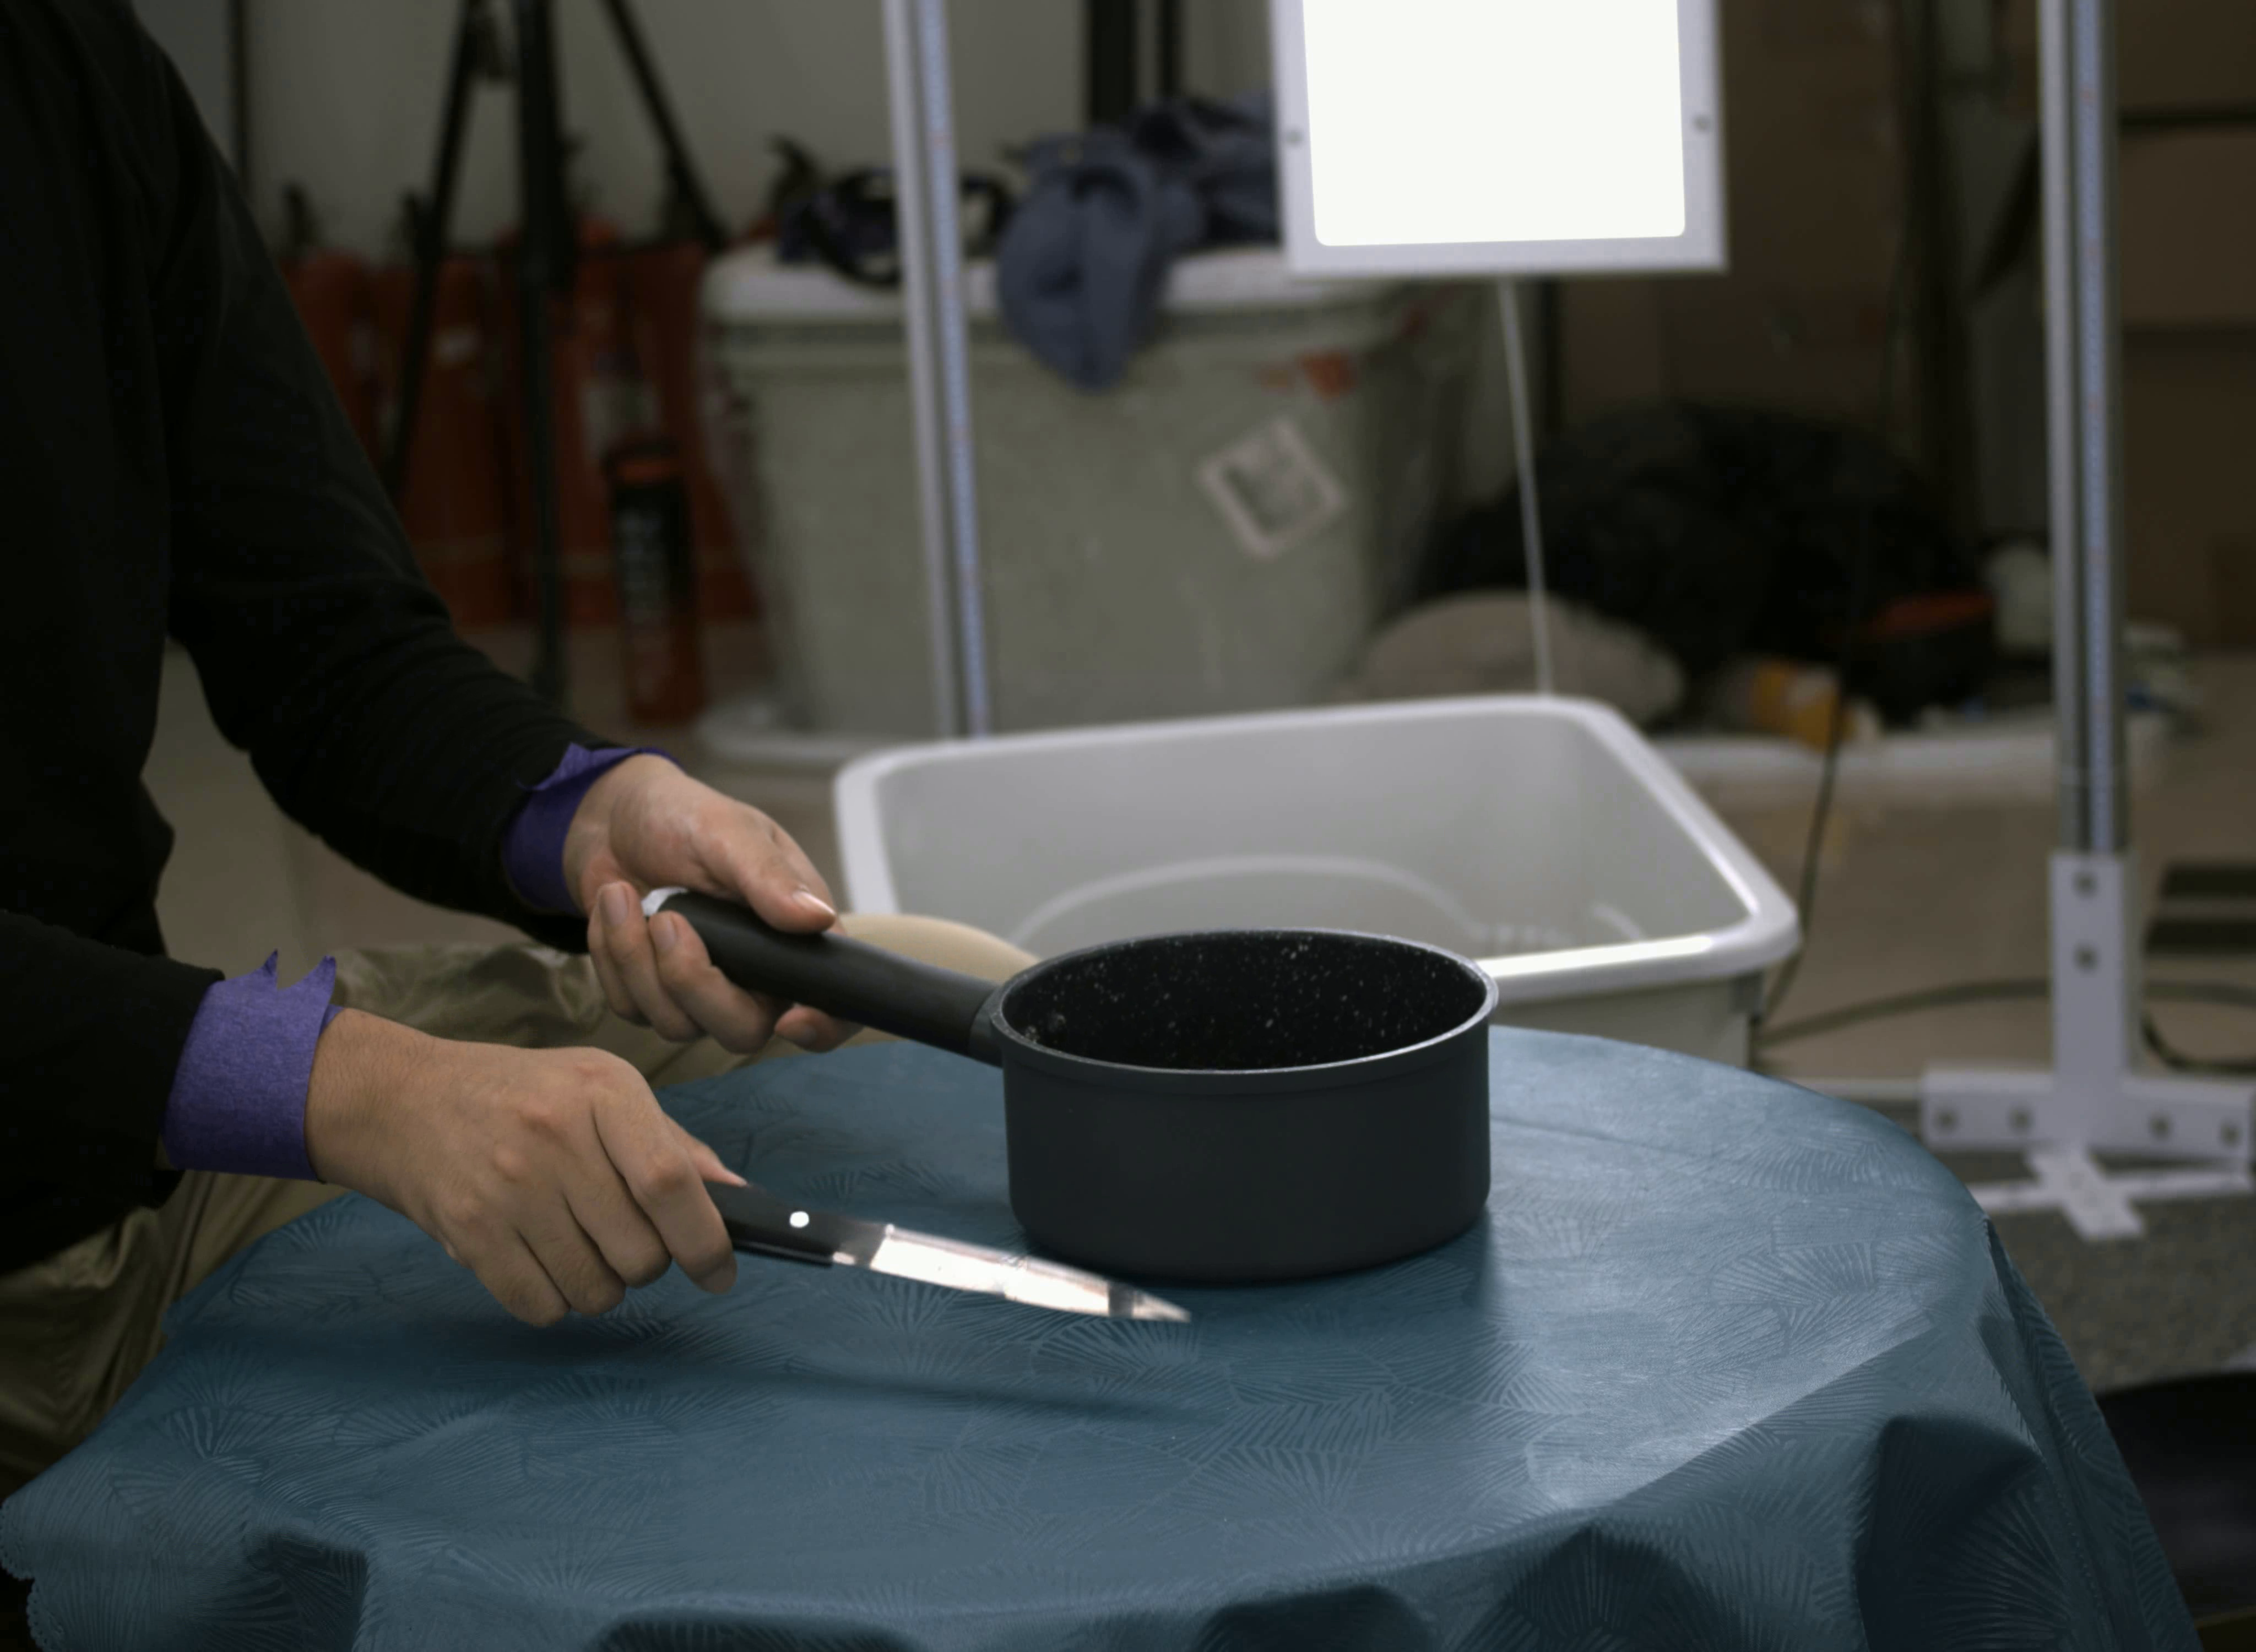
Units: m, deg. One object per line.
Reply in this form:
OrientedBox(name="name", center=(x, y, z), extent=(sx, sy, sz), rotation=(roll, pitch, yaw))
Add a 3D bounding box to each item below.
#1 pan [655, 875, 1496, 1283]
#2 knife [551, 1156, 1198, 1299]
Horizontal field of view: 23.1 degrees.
OrientedBox(name="pan", center=(-0.027, 0.081, 1.896), extent=(0.335, 0.087, 0.168), rotation=(8, 18, 34))
OrientedBox(name="knife", center=(-0.084, 0.130, 1.740), extent=(0.242, 0.016, 0.024), rotation=(8, 35, 29))
